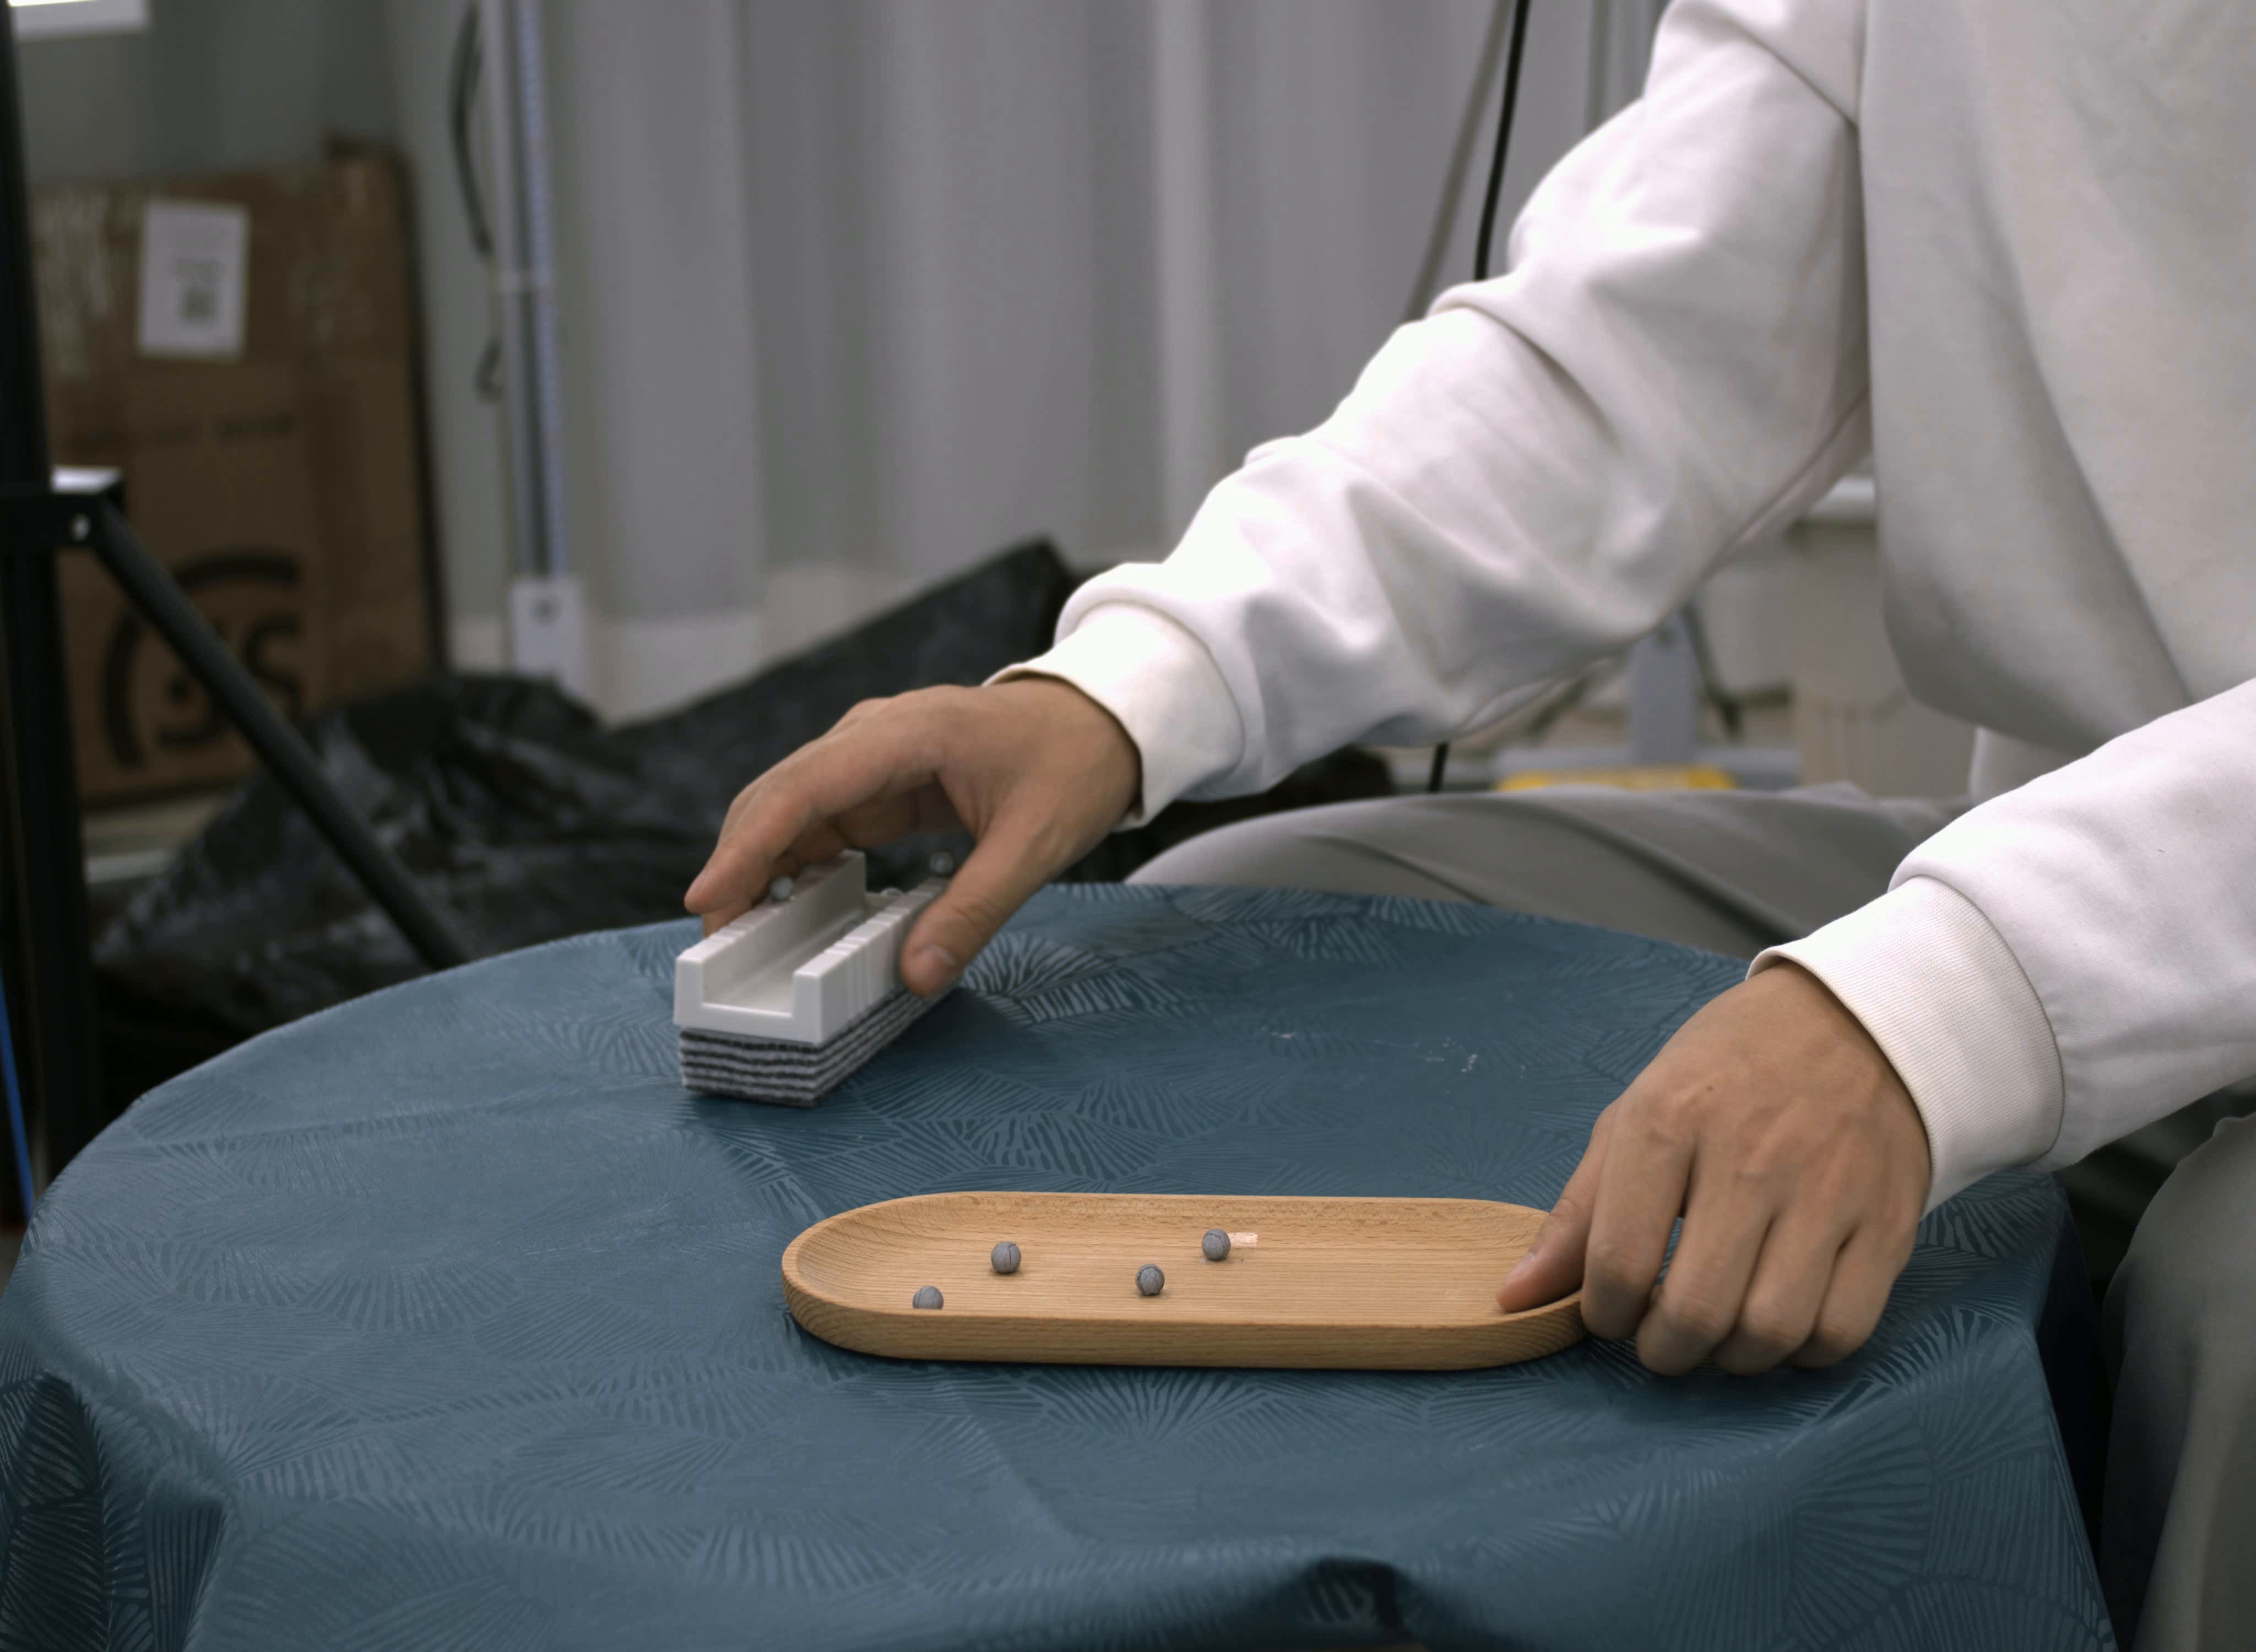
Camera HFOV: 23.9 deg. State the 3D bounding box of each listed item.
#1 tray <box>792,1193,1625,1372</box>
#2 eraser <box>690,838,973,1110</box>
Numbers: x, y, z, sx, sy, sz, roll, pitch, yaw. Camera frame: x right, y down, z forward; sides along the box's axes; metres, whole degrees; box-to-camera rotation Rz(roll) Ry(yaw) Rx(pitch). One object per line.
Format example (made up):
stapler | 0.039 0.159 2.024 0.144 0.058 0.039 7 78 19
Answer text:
tray | 0.022 0.126 1.463 0.231 0.020 0.101 2 17 8
eraser | -0.093 0.046 1.703 0.050 0.046 0.133 9 19 15
